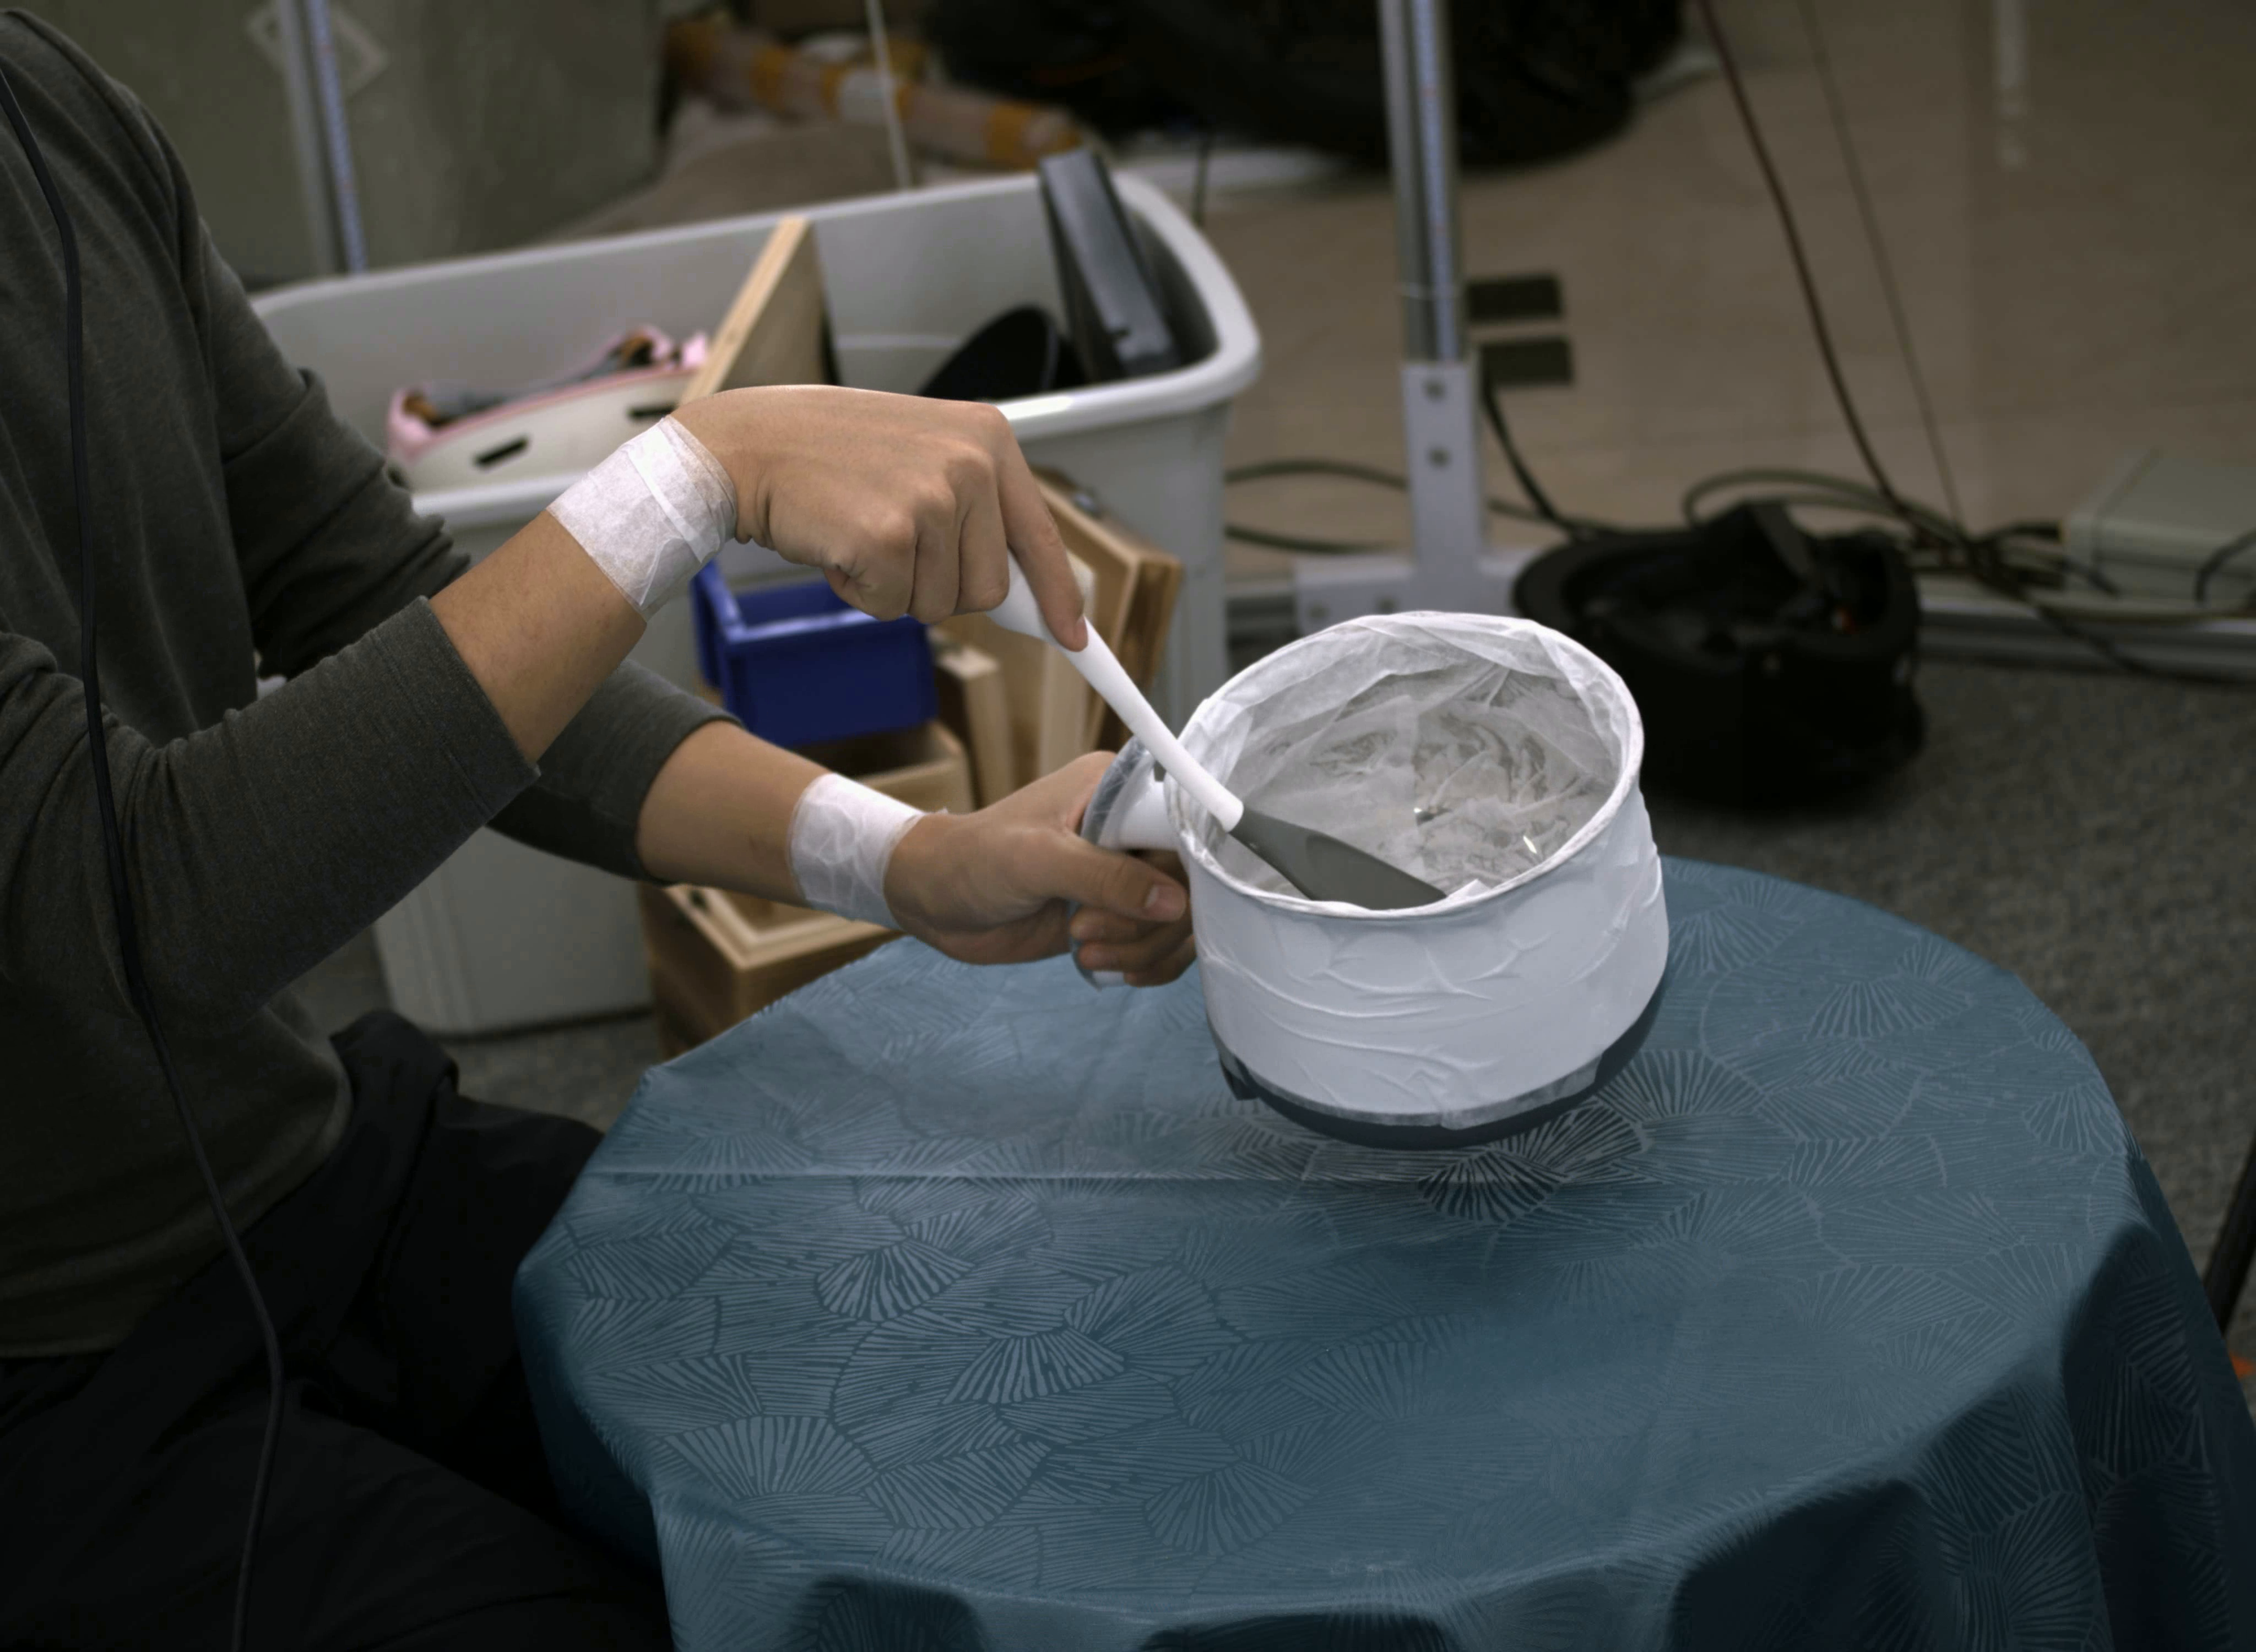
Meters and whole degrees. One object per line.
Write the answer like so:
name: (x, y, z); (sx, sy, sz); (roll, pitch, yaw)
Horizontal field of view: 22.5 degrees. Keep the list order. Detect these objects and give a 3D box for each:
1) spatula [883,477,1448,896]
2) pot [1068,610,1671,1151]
spatula: (0.022, -0.029, 2.054); (0.032, 0.290, 0.057); (-40, 29, 20)
pot: (0.085, 0.022, 2.121); (0.233, 0.139, 0.176); (4, 41, 18)
